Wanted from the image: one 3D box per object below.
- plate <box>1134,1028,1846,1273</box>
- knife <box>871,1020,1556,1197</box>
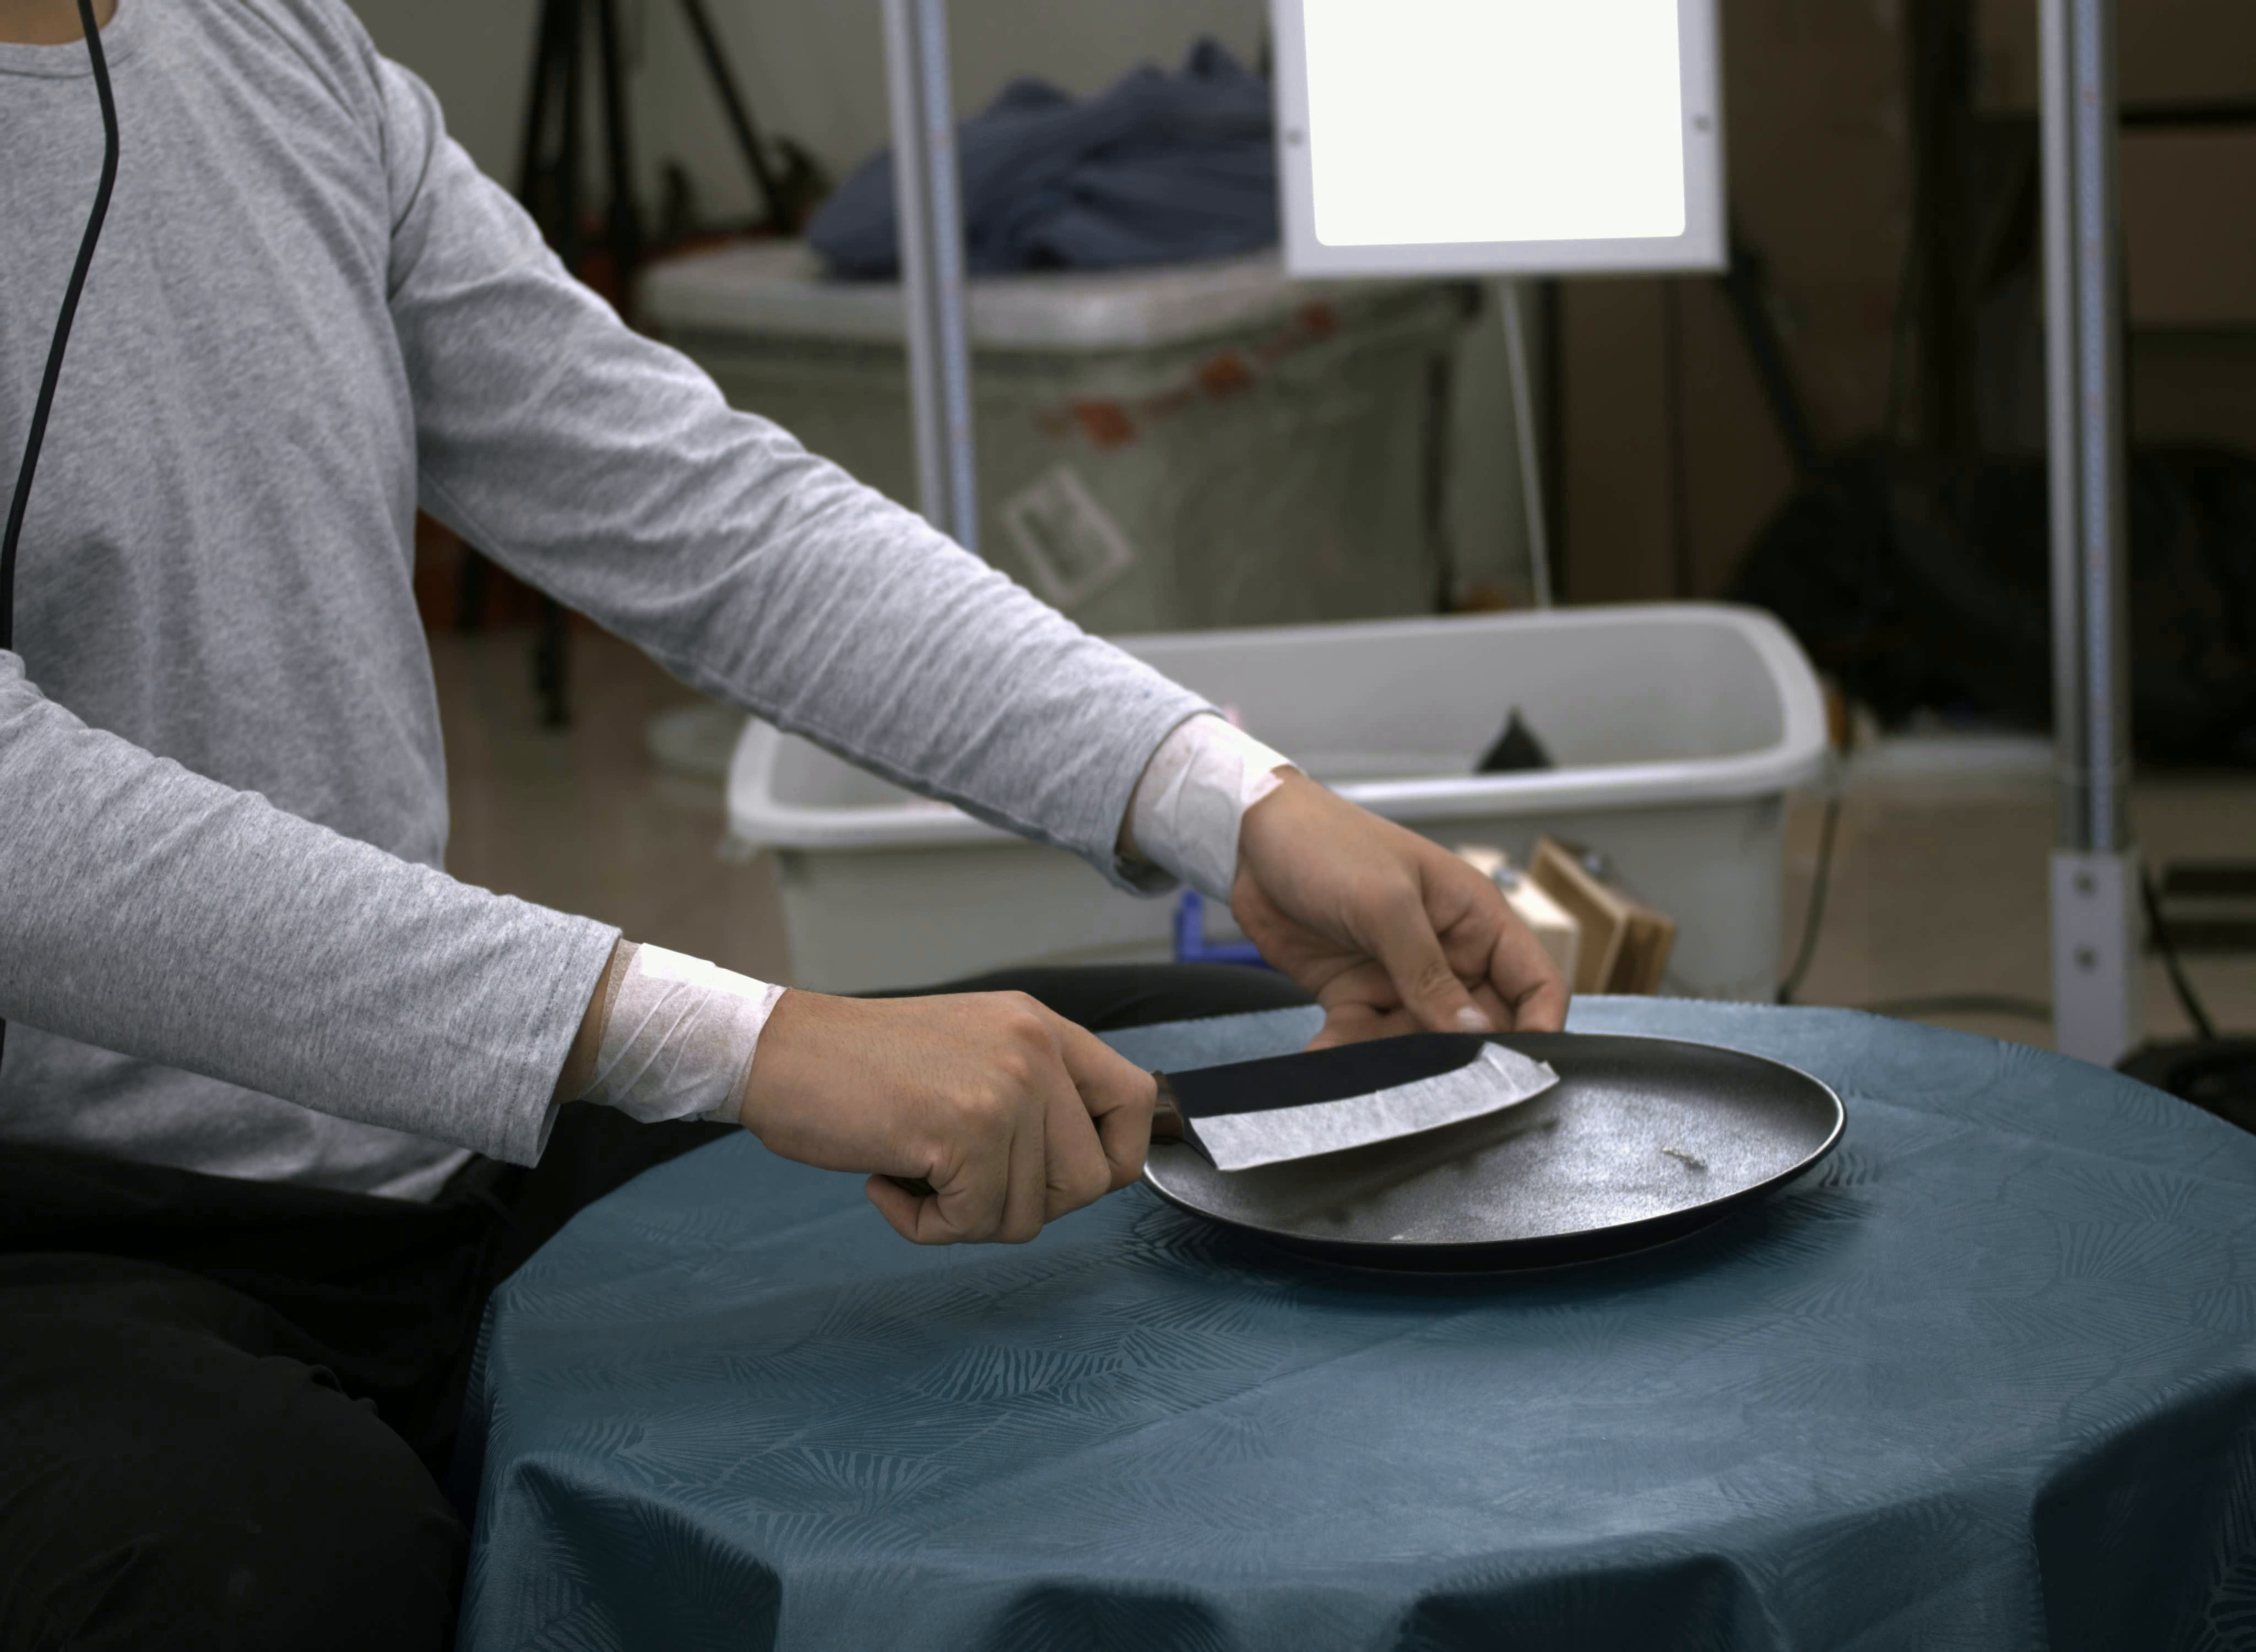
[{"bbox_3d":[0.123,0.112,1.867,0.244,0.023,0.244,-5,14,0],"label":"plate"},{"bbox_3d":[0.035,0.095,1.850,0.282,0.020,0.050,-6,50,-36],"label":"knife"}]
